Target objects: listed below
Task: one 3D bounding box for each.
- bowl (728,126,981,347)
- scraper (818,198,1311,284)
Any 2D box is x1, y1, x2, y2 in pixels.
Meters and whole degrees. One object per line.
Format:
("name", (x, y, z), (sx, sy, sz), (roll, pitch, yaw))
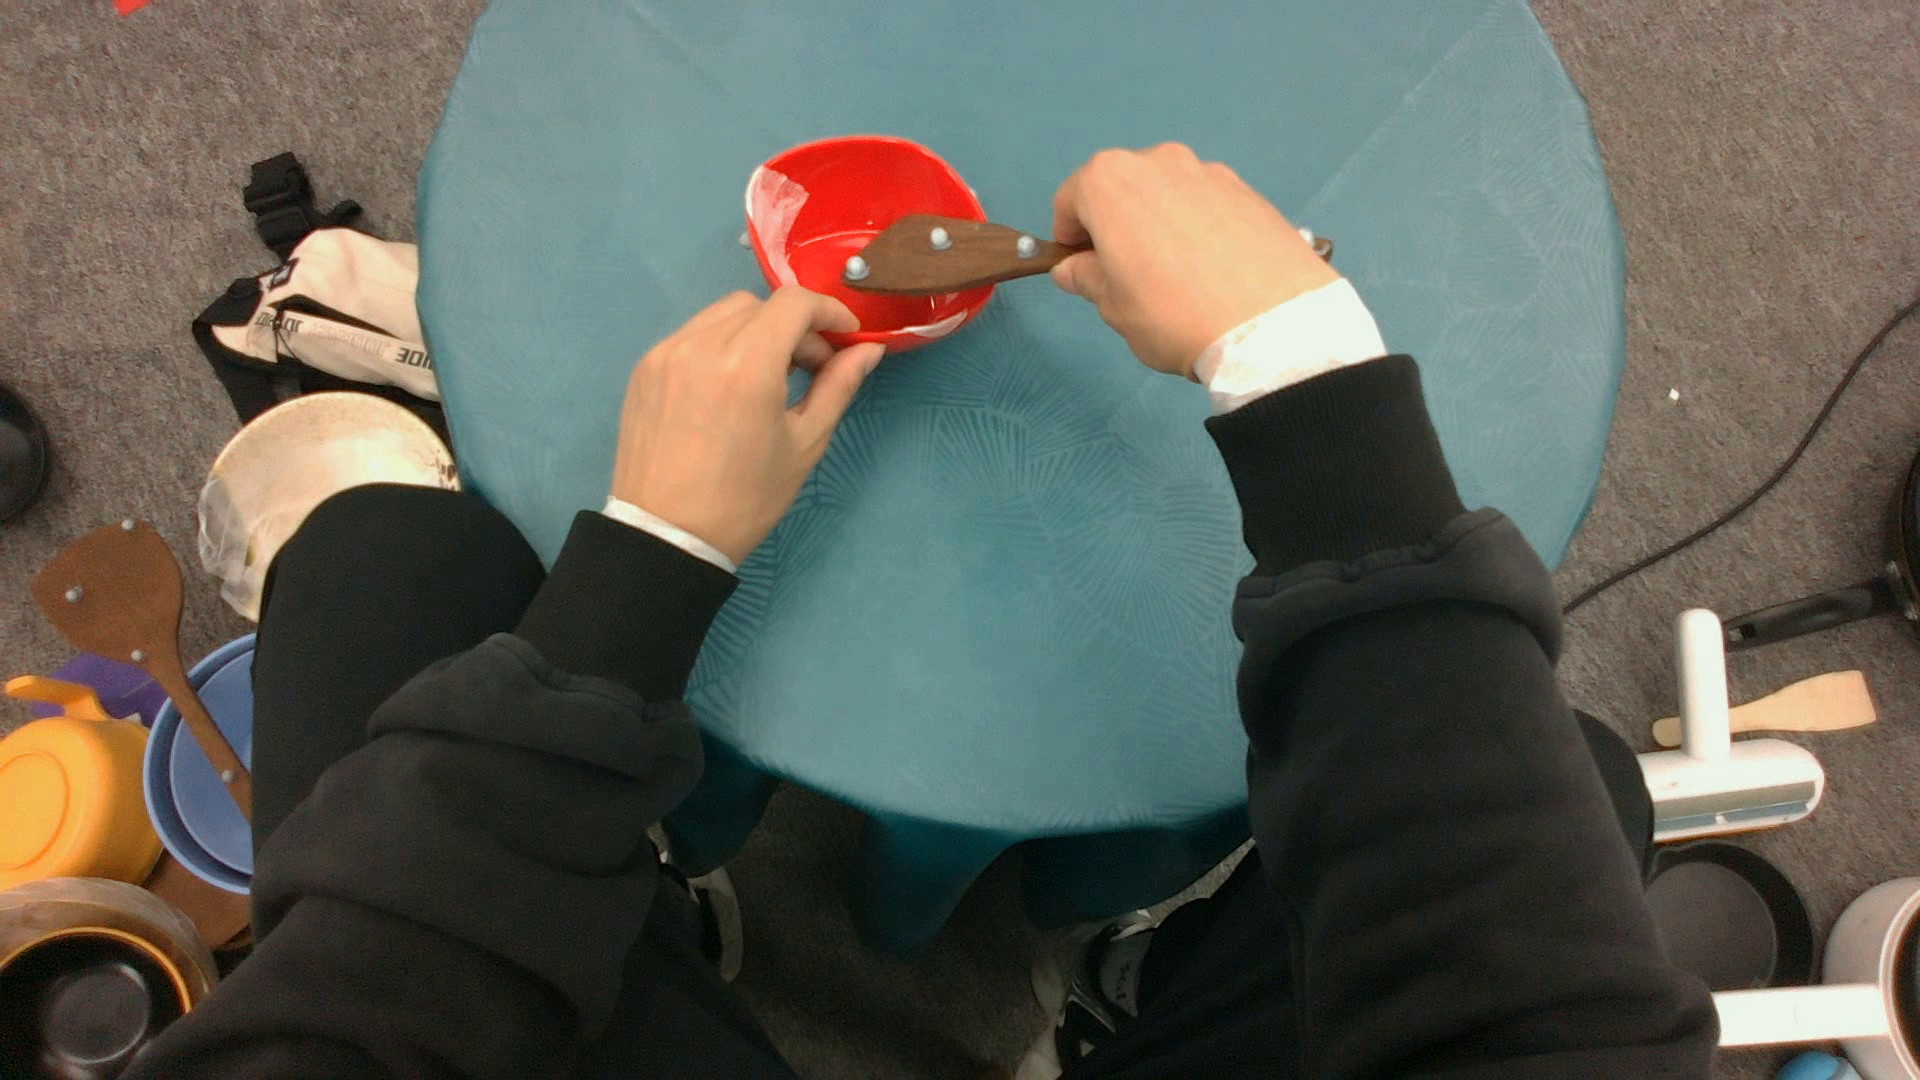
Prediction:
("bowl", (-0.053, -0.132, 0.638), (0.119, 0.051, 0.119), (8, 61, -14))
("scraper", (0.041, -0.125, 0.578), (0.211, 0.011, 0.076), (7, 38, 27))
